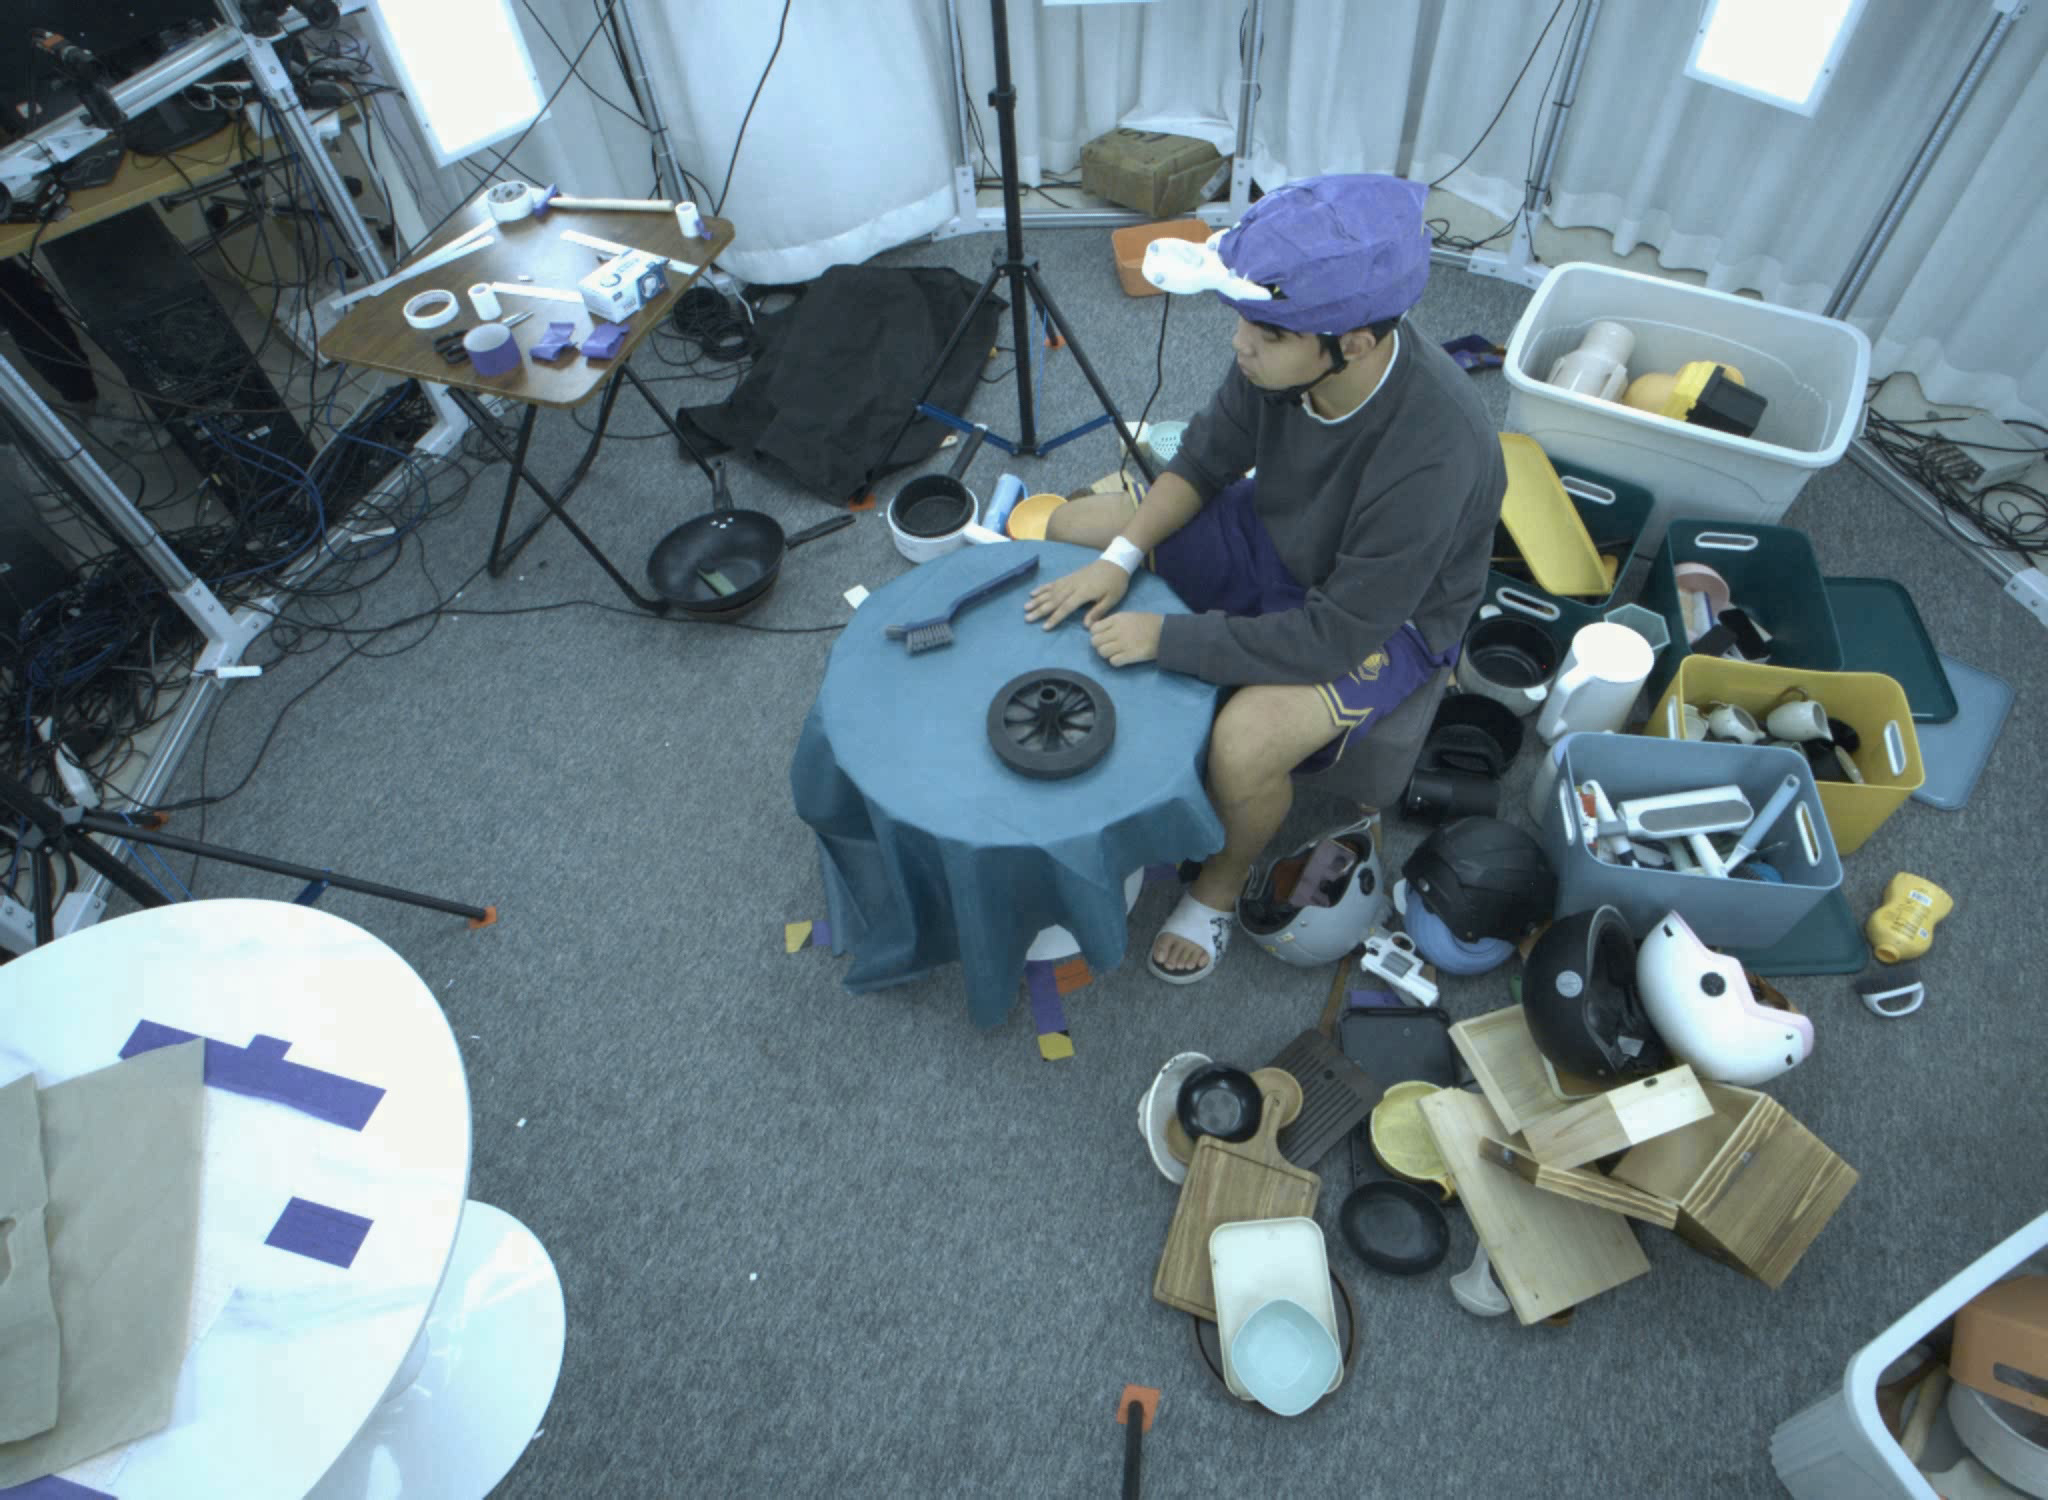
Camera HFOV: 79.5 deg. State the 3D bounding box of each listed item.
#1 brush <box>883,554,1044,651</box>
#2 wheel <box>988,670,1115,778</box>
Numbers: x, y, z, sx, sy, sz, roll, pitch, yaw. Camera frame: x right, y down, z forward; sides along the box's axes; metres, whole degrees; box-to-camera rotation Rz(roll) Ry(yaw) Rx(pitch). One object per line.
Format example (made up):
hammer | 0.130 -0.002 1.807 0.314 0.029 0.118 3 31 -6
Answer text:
brush | -0.091 -0.244 1.947 0.275 0.034 0.094 -38 61 -20
wheel | 0.039 -0.053 1.779 0.185 0.080 0.190 20 57 16
